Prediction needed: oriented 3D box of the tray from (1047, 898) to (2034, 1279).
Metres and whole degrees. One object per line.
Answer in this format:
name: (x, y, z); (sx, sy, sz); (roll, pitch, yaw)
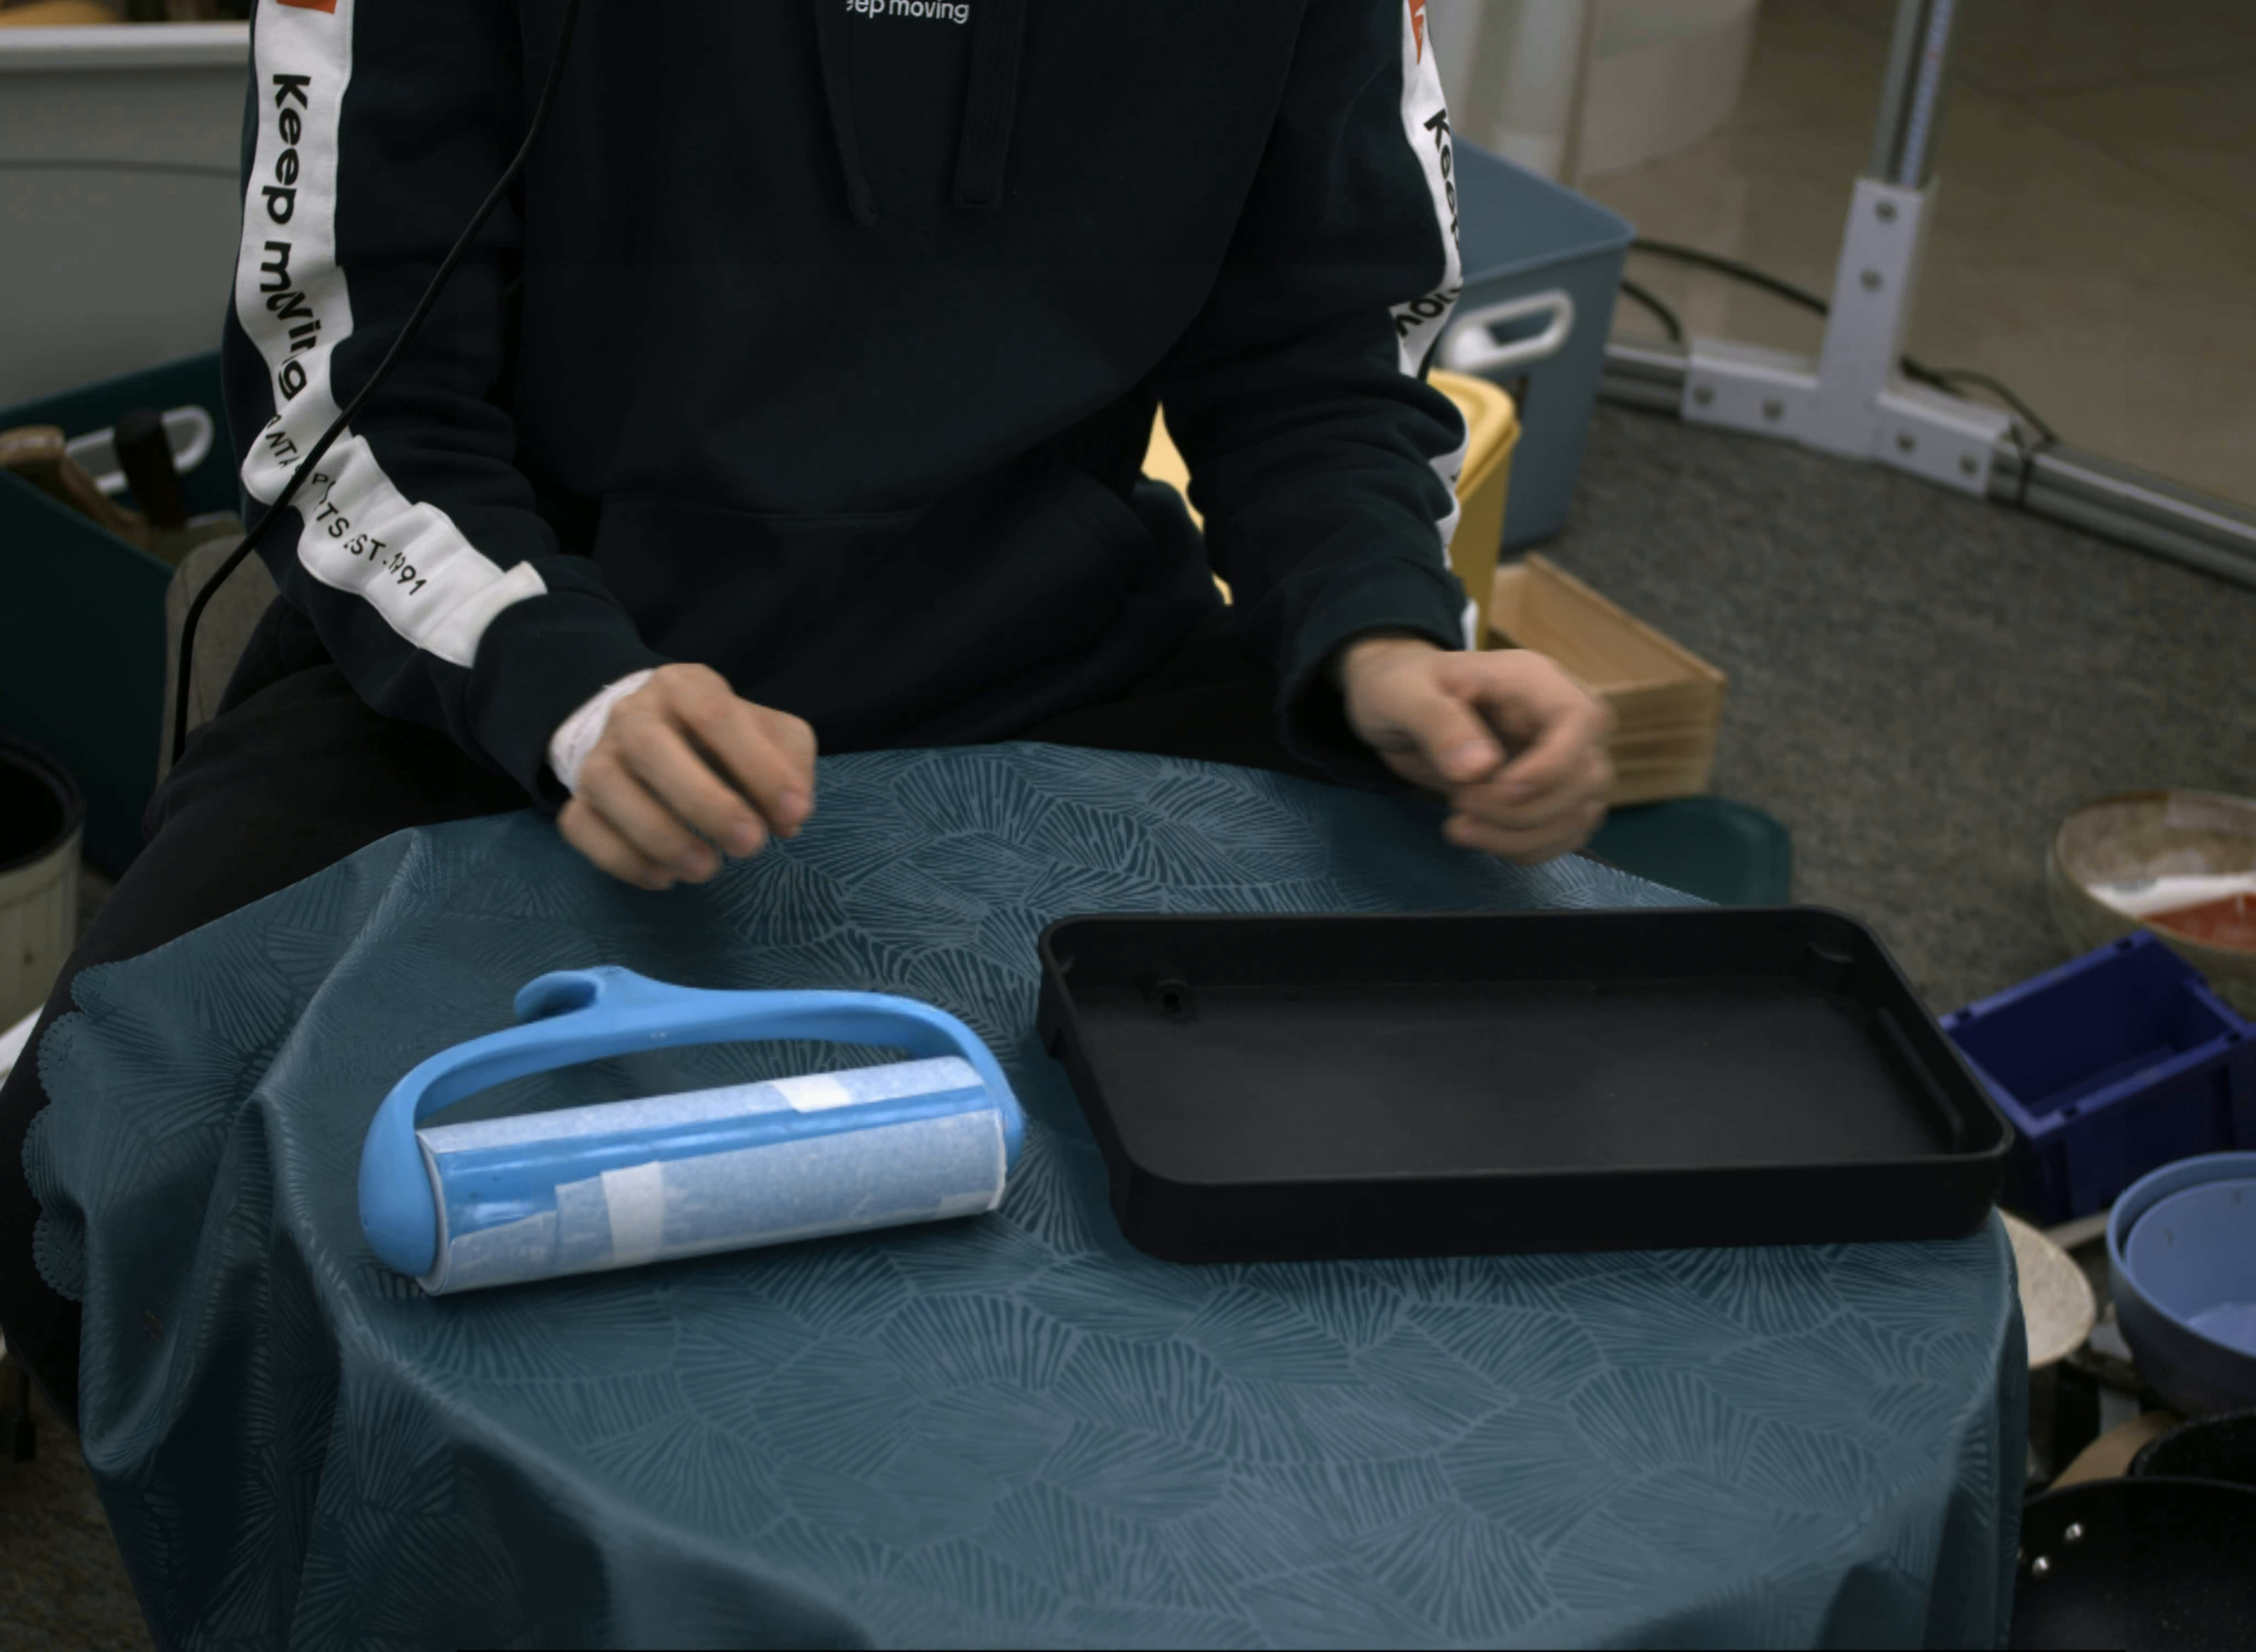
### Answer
tray: (0.140, 0.088, 1.862); (0.316, 0.037, 0.186); (-2, 28, -14)

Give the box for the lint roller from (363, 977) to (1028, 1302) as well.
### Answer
lint roller: (-0.165, 0.085, 1.774); (0.227, 0.067, 0.182); (-10, 32, -26)
